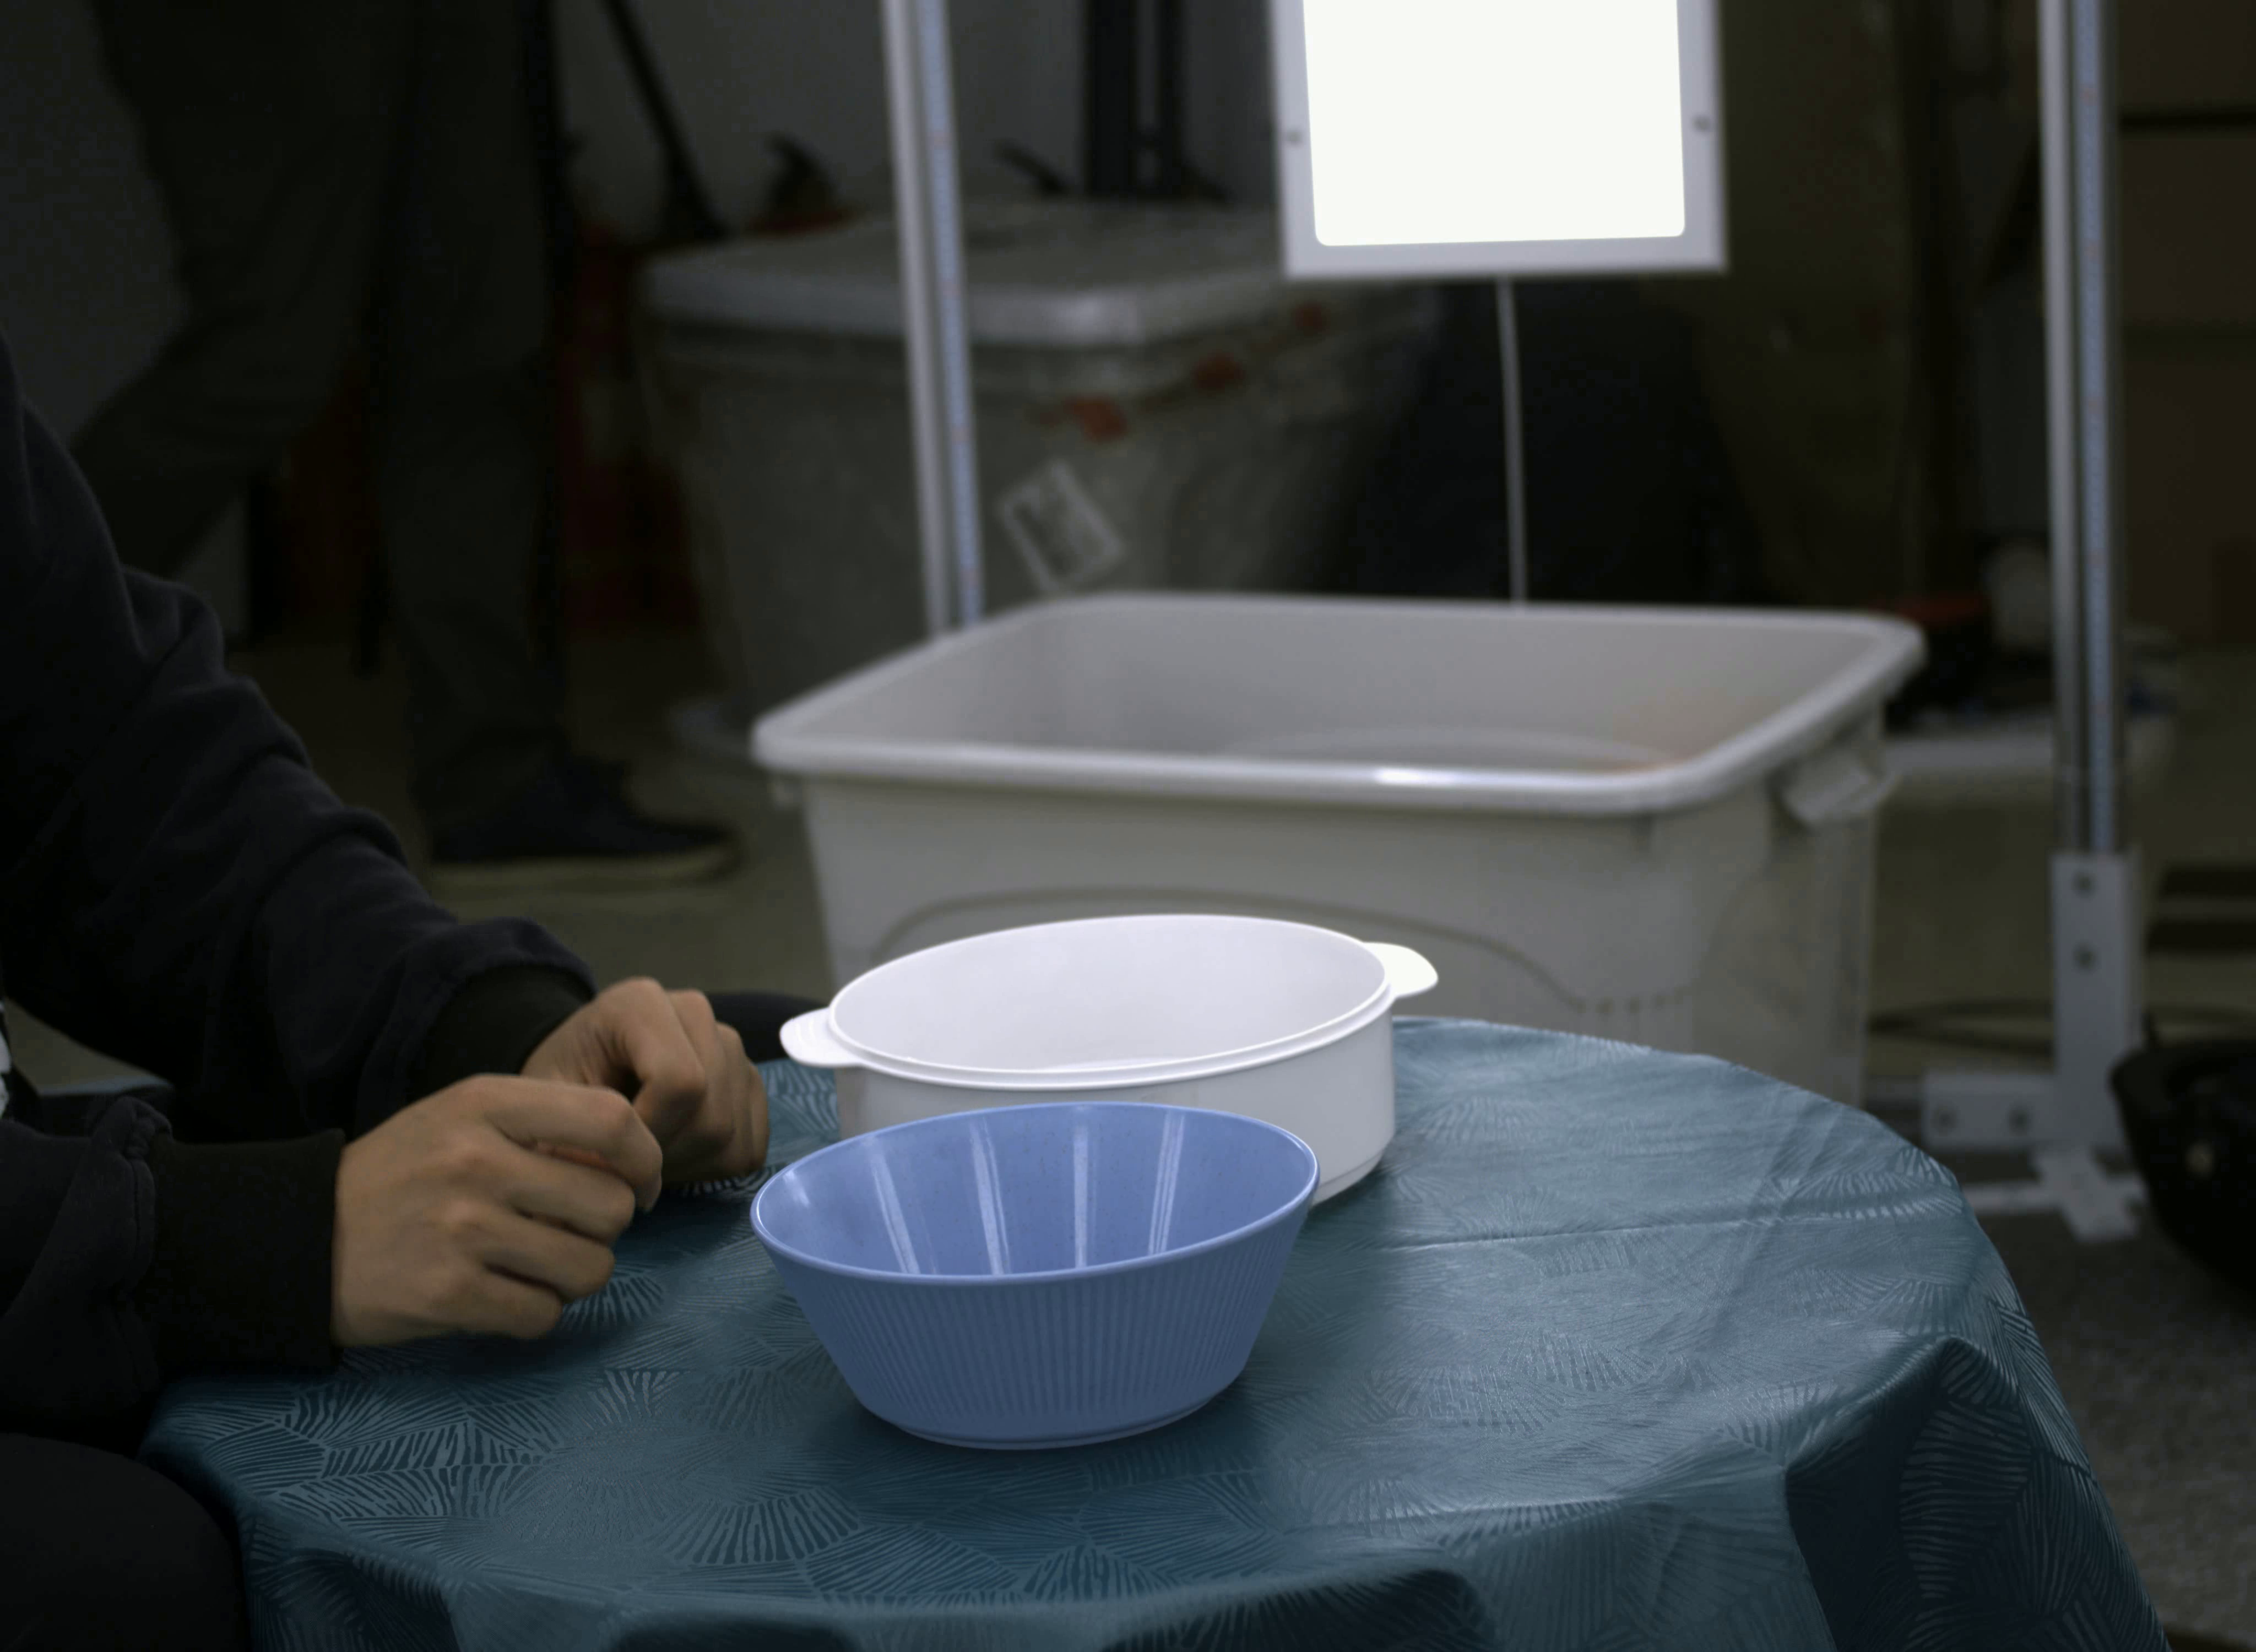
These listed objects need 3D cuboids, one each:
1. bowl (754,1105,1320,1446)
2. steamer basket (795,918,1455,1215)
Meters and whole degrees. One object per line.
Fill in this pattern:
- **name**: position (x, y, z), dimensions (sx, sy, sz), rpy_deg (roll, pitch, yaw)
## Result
- **bowl**: position (-0.026, 0.141, 1.698), dimensions (0.175, 0.070, 0.176), rpy_deg (-5, 13, 0)
- **steamer basket**: position (0.001, 0.088, 1.913), dimensions (0.228, 0.069, 0.203), rpy_deg (-5, 13, -9)
